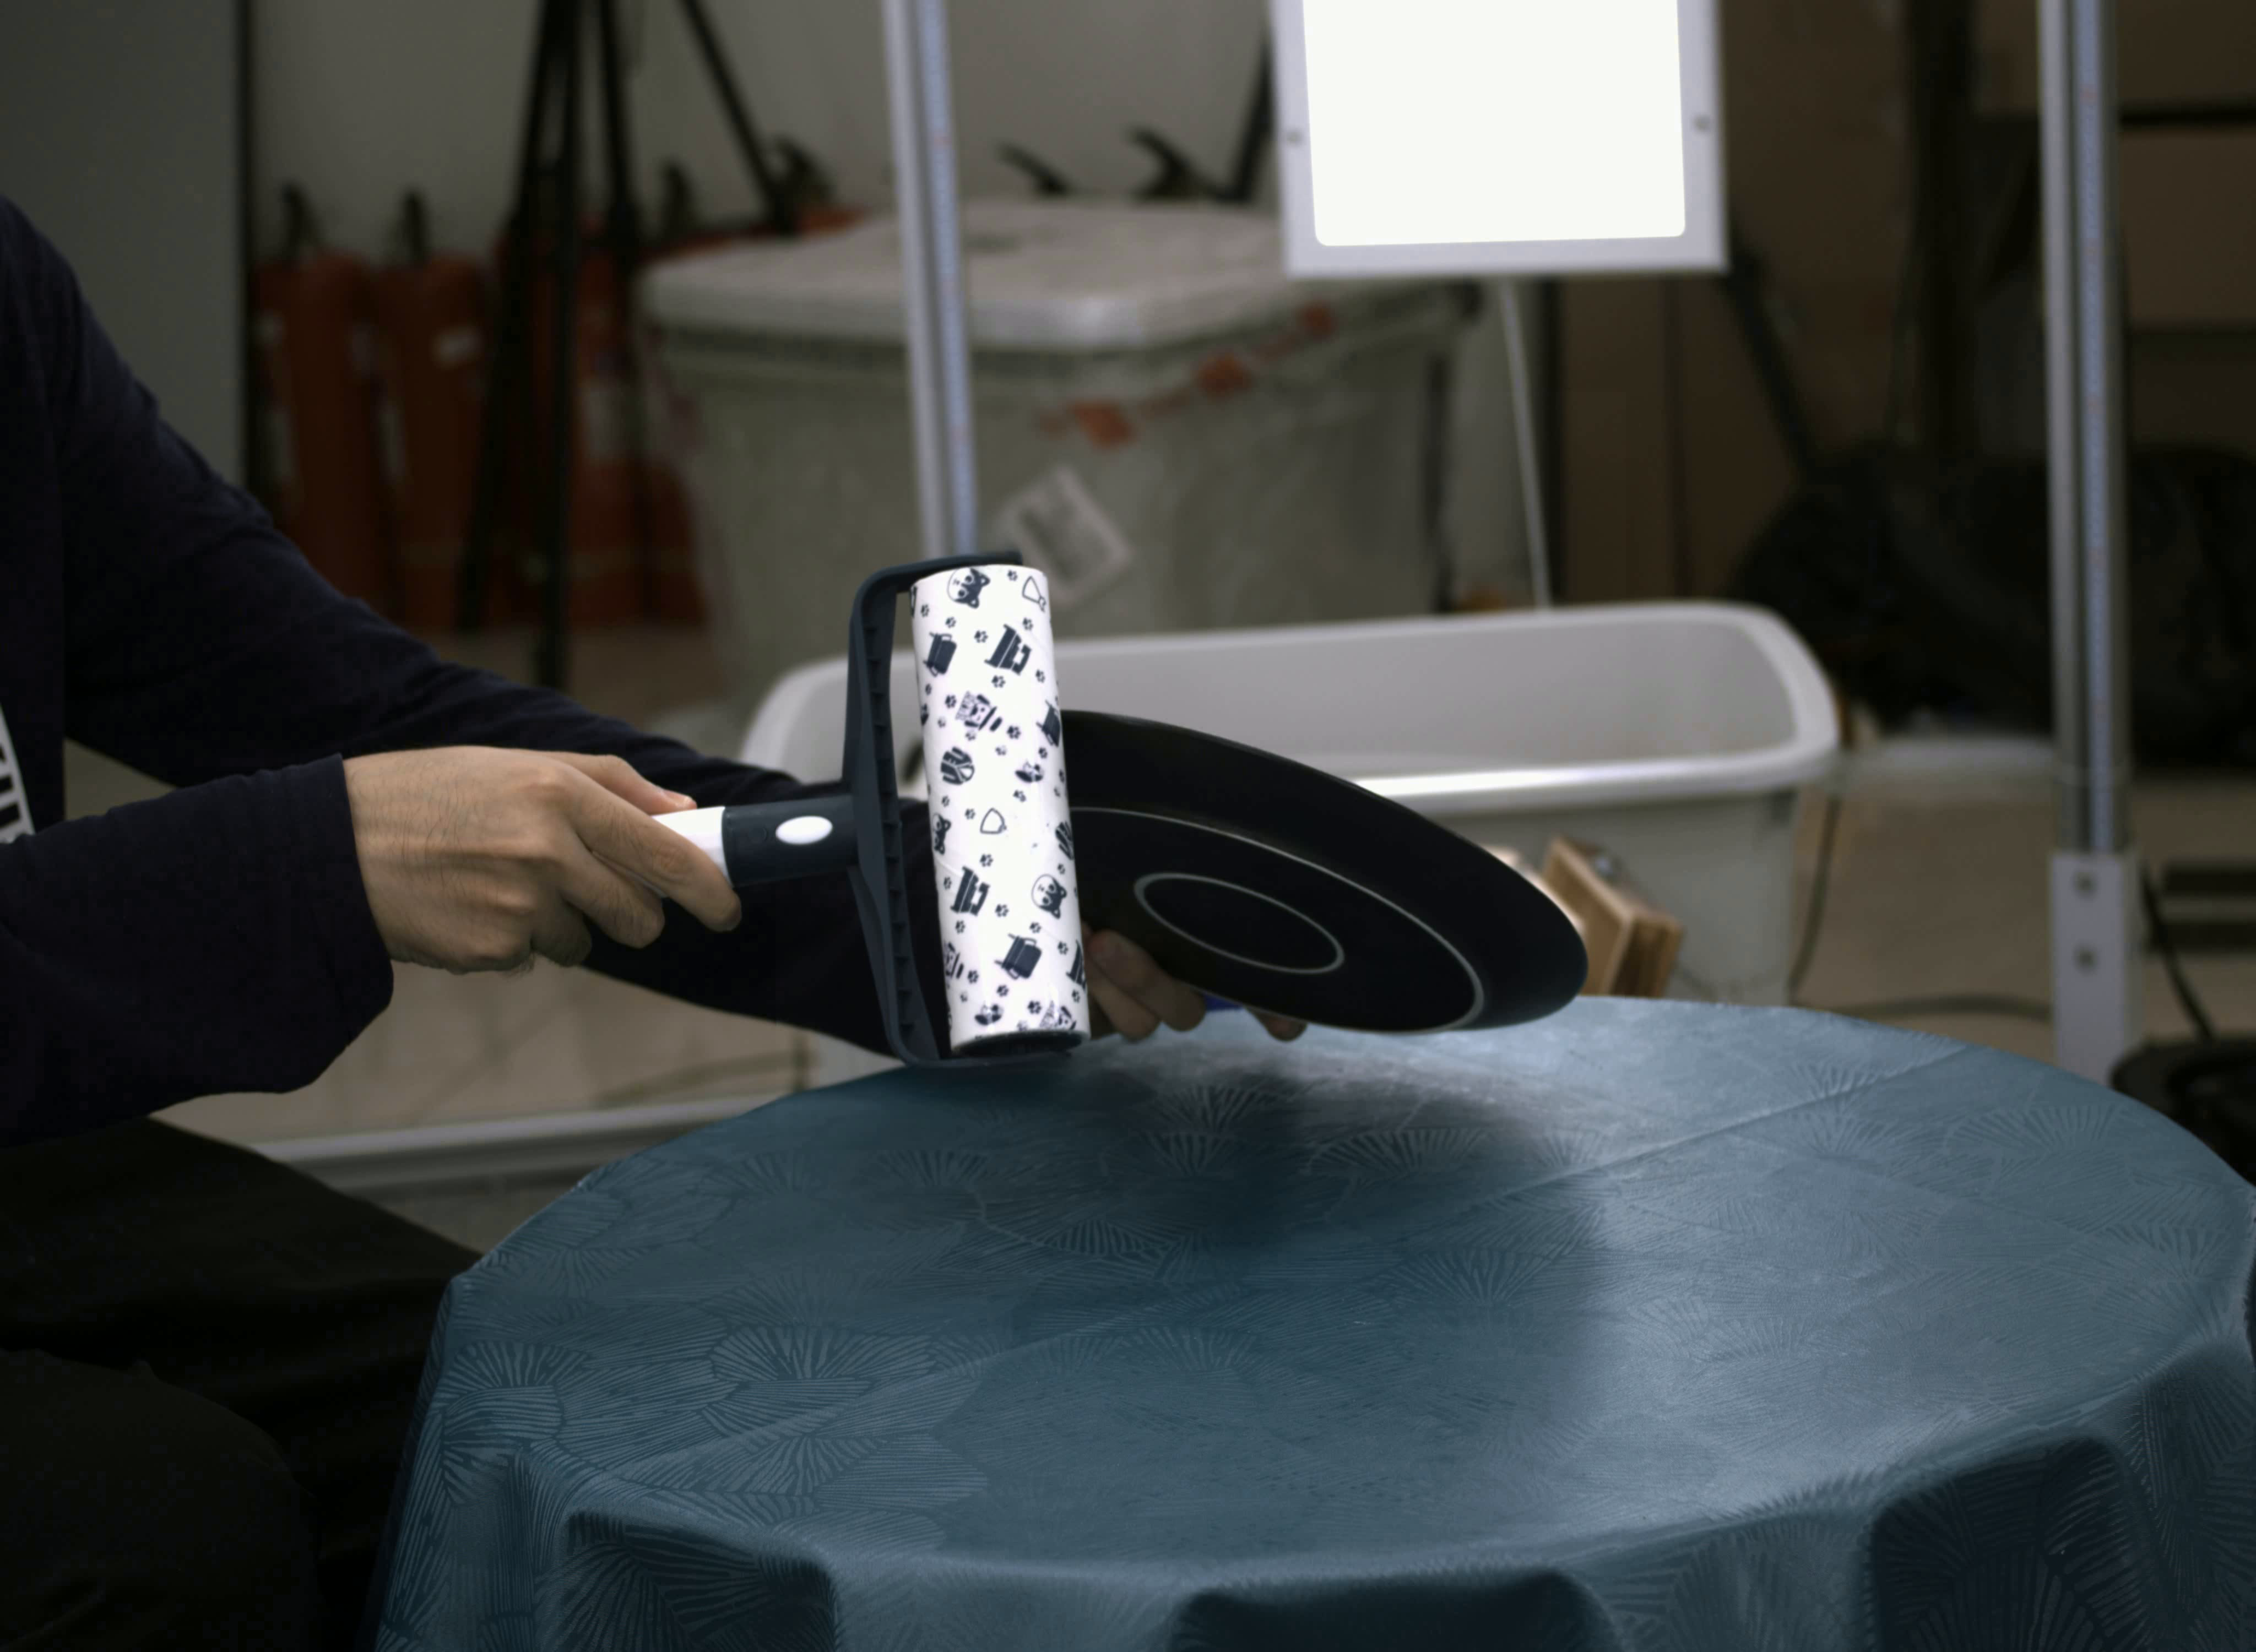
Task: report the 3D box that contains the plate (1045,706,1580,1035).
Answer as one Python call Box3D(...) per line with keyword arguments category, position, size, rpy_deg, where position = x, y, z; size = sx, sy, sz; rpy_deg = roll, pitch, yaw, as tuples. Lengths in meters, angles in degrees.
Box3D(category="plate", position=(0.041, 0.024, 1.933), size=(0.245, 0.023, 0.245), rpy_deg=(19, -19, 5))

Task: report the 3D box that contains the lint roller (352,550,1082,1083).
Box3D(category="lint roller", position=(-0.143, 0.010, 1.853), size=(0.248, 0.176, 0.050), rpy_deg=(-8, -11, 9))
